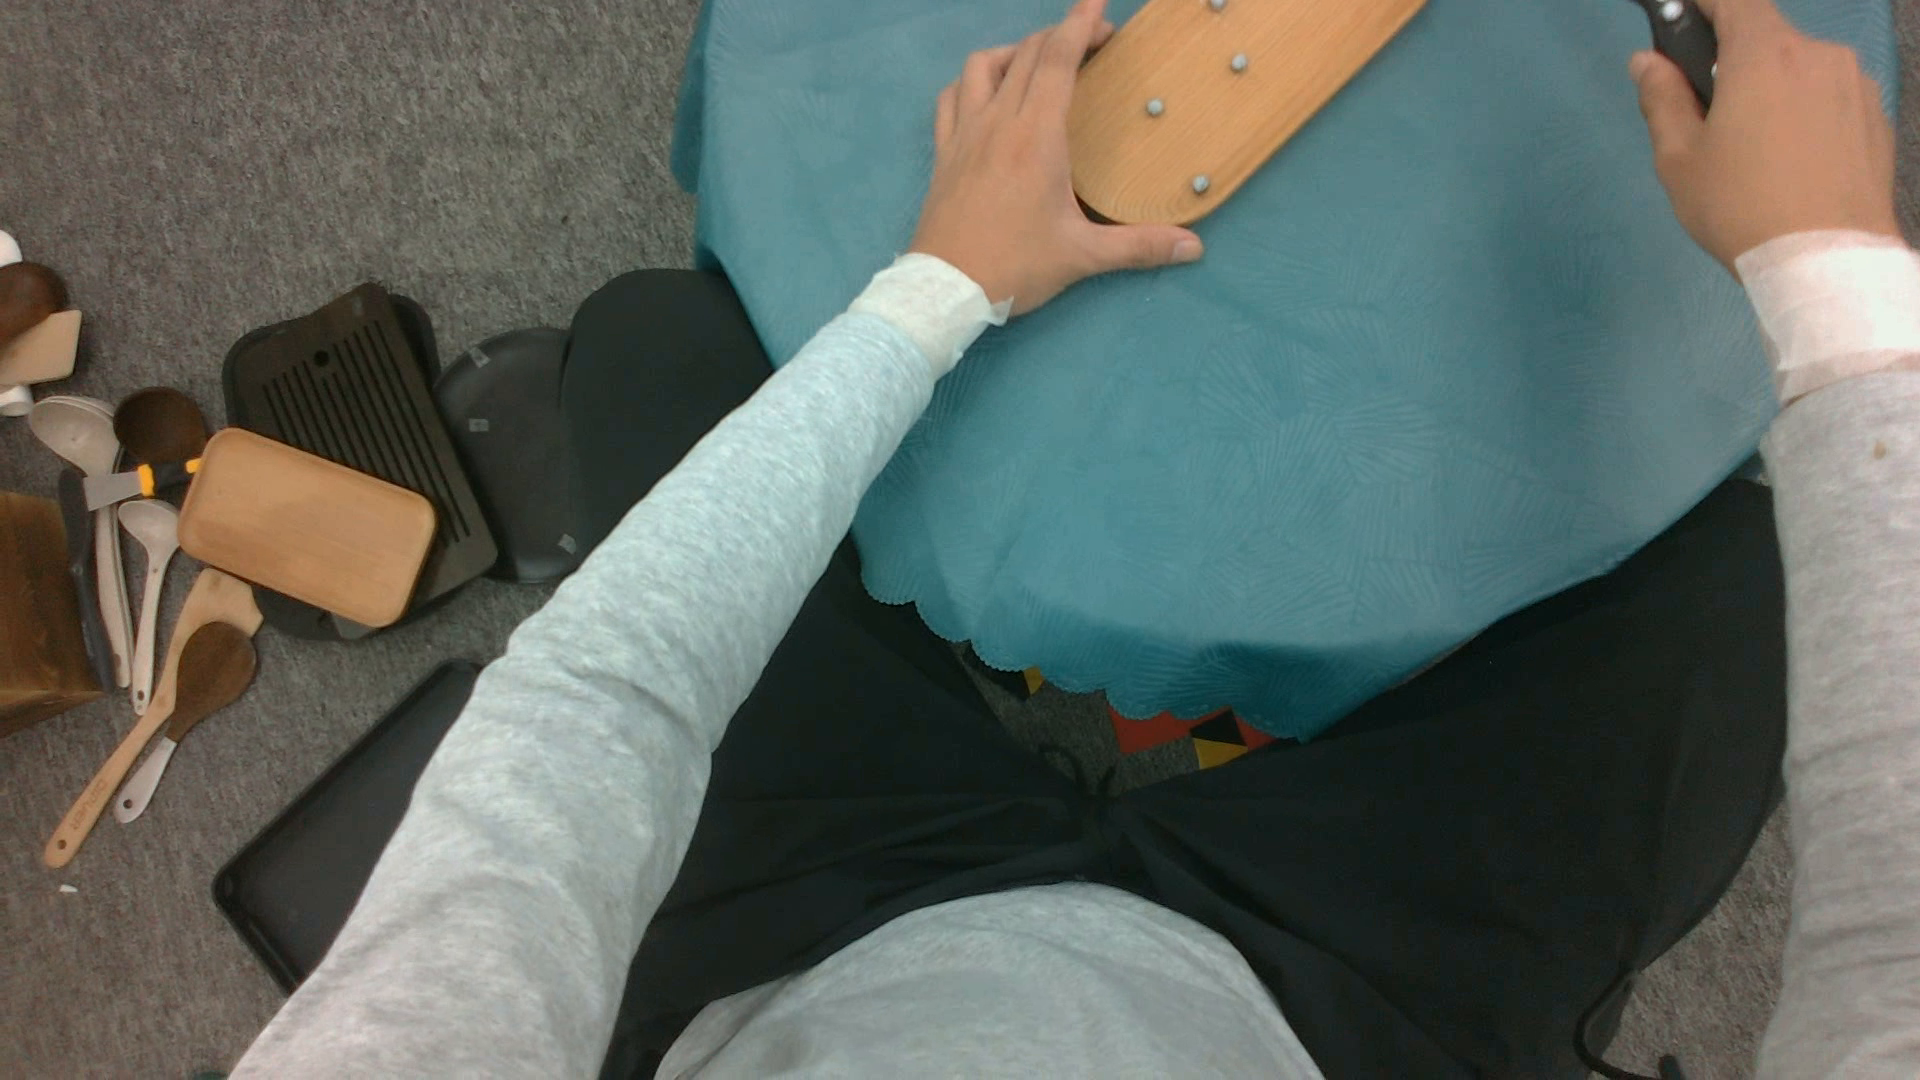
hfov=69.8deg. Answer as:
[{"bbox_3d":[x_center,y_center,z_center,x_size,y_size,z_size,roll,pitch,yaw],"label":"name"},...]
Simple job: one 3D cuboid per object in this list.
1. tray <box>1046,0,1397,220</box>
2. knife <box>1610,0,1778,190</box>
[{"bbox_3d":[0.139,-0.259,0.703,0.102,0.020,0.231,43,87,7],"label":"tray"},{"bbox_3d":[0.283,-0.252,0.594,0.024,0.016,0.238,-32,72,25],"label":"knife"}]
